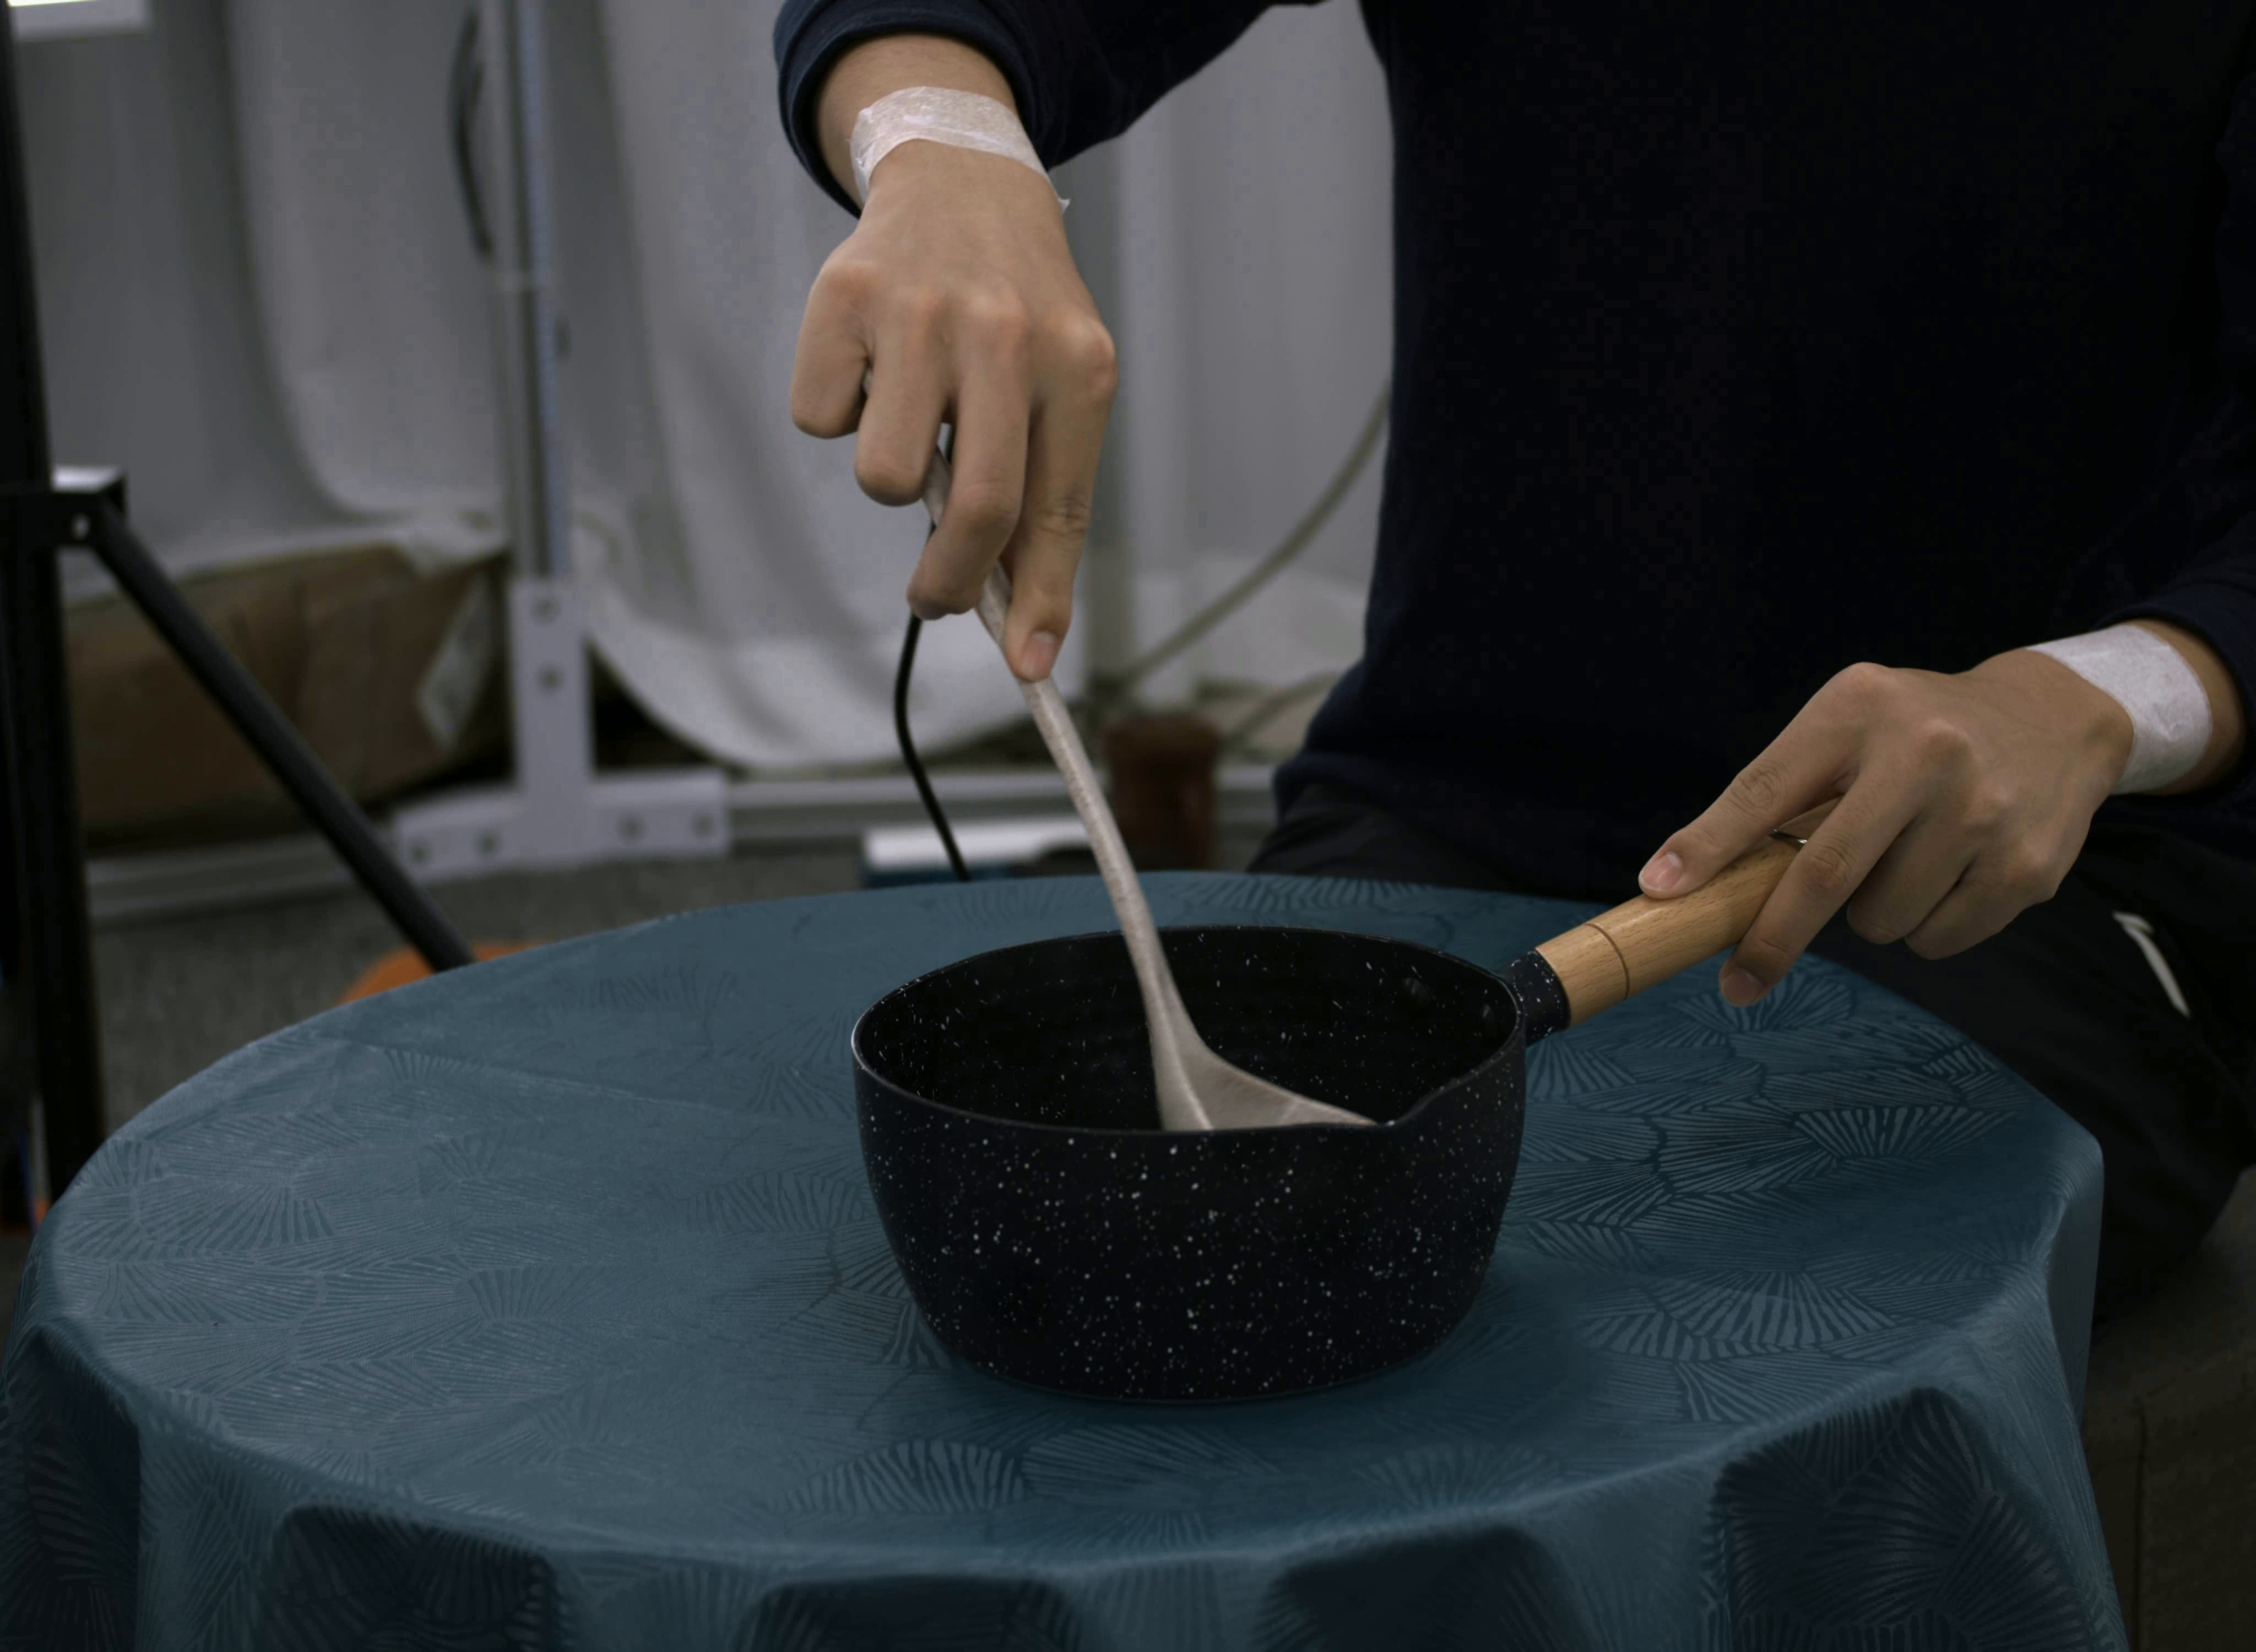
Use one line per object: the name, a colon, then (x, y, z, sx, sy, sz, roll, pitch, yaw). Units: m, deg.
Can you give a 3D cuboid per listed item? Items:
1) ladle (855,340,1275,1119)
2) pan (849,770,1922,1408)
ladle: (0.007, -0.011, 1.423, 0.070, 0.275, 0.088, -19, 6, 17)
pan: (0.084, 0.068, 1.487, 0.335, 0.108, 0.212, -13, 18, -29)
